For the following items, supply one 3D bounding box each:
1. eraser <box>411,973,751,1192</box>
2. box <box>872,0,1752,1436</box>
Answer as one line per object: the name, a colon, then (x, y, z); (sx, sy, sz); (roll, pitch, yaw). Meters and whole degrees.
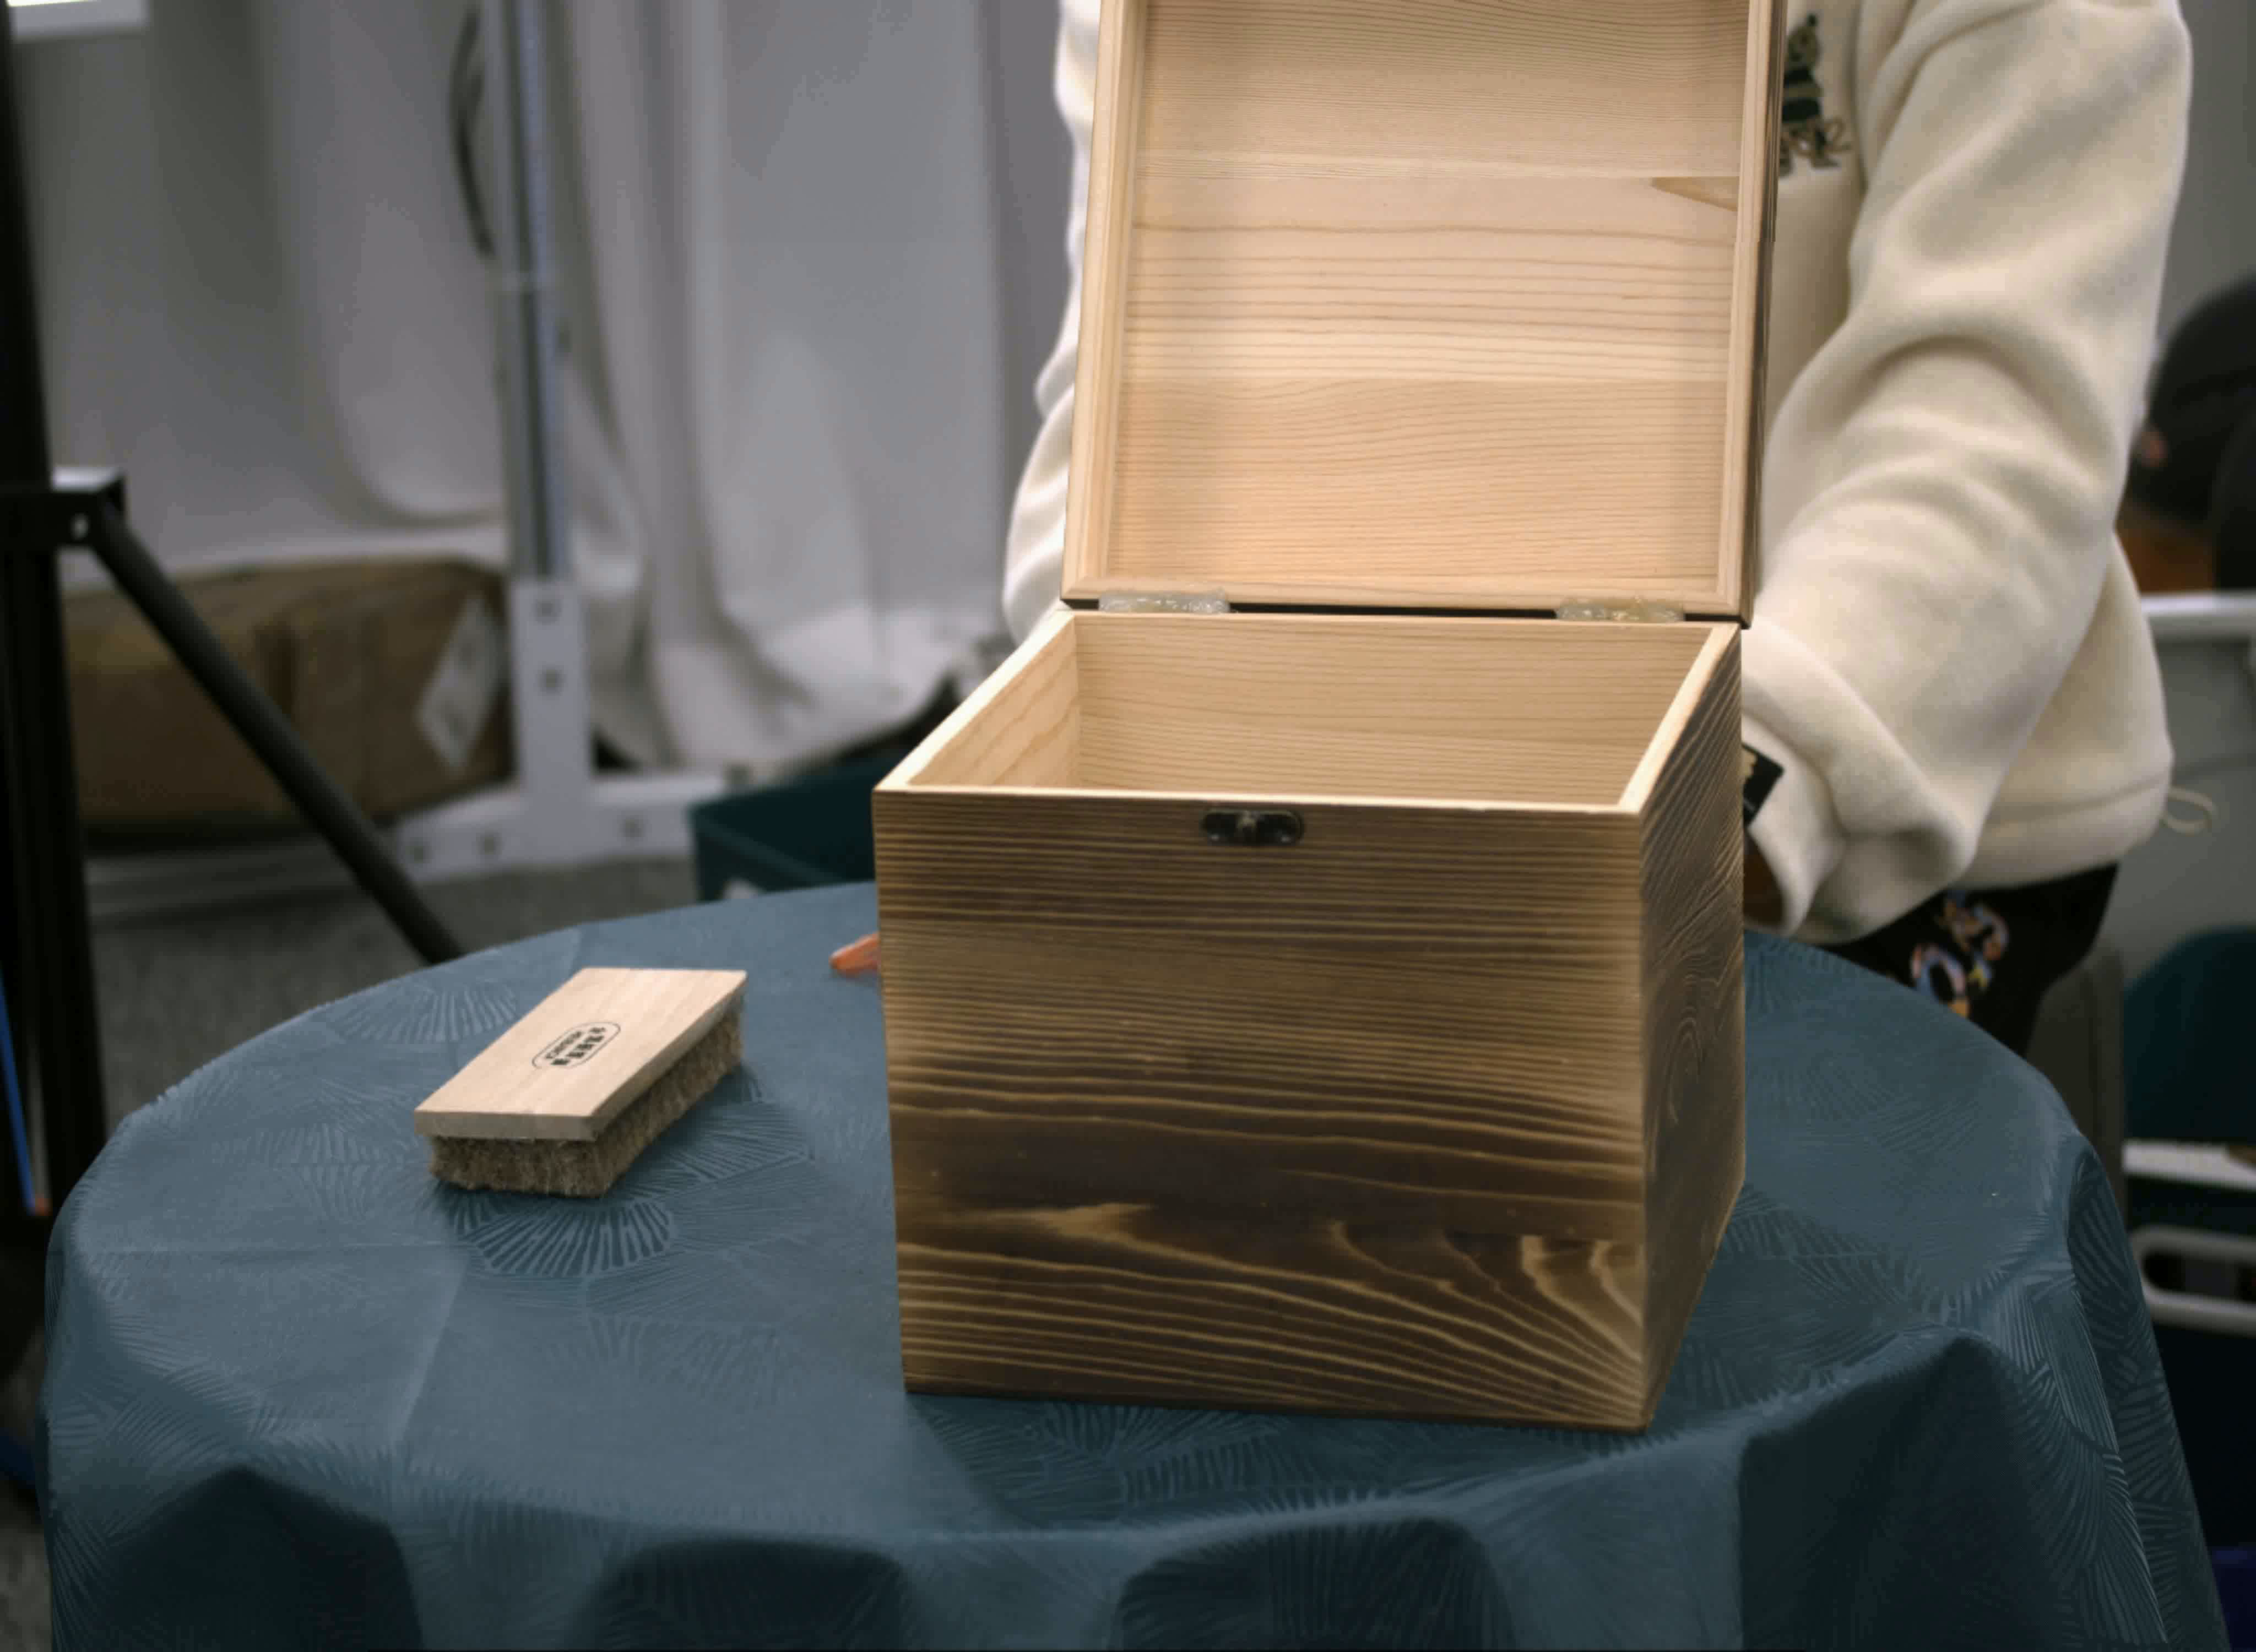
eraser: (-0.166, 0.078, 1.640); (0.057, 0.029, 0.138); (0, 15, 18)
box: (0.063, -0.061, 1.478); (0.210, 0.375, 0.320); (1, 15, 14)
